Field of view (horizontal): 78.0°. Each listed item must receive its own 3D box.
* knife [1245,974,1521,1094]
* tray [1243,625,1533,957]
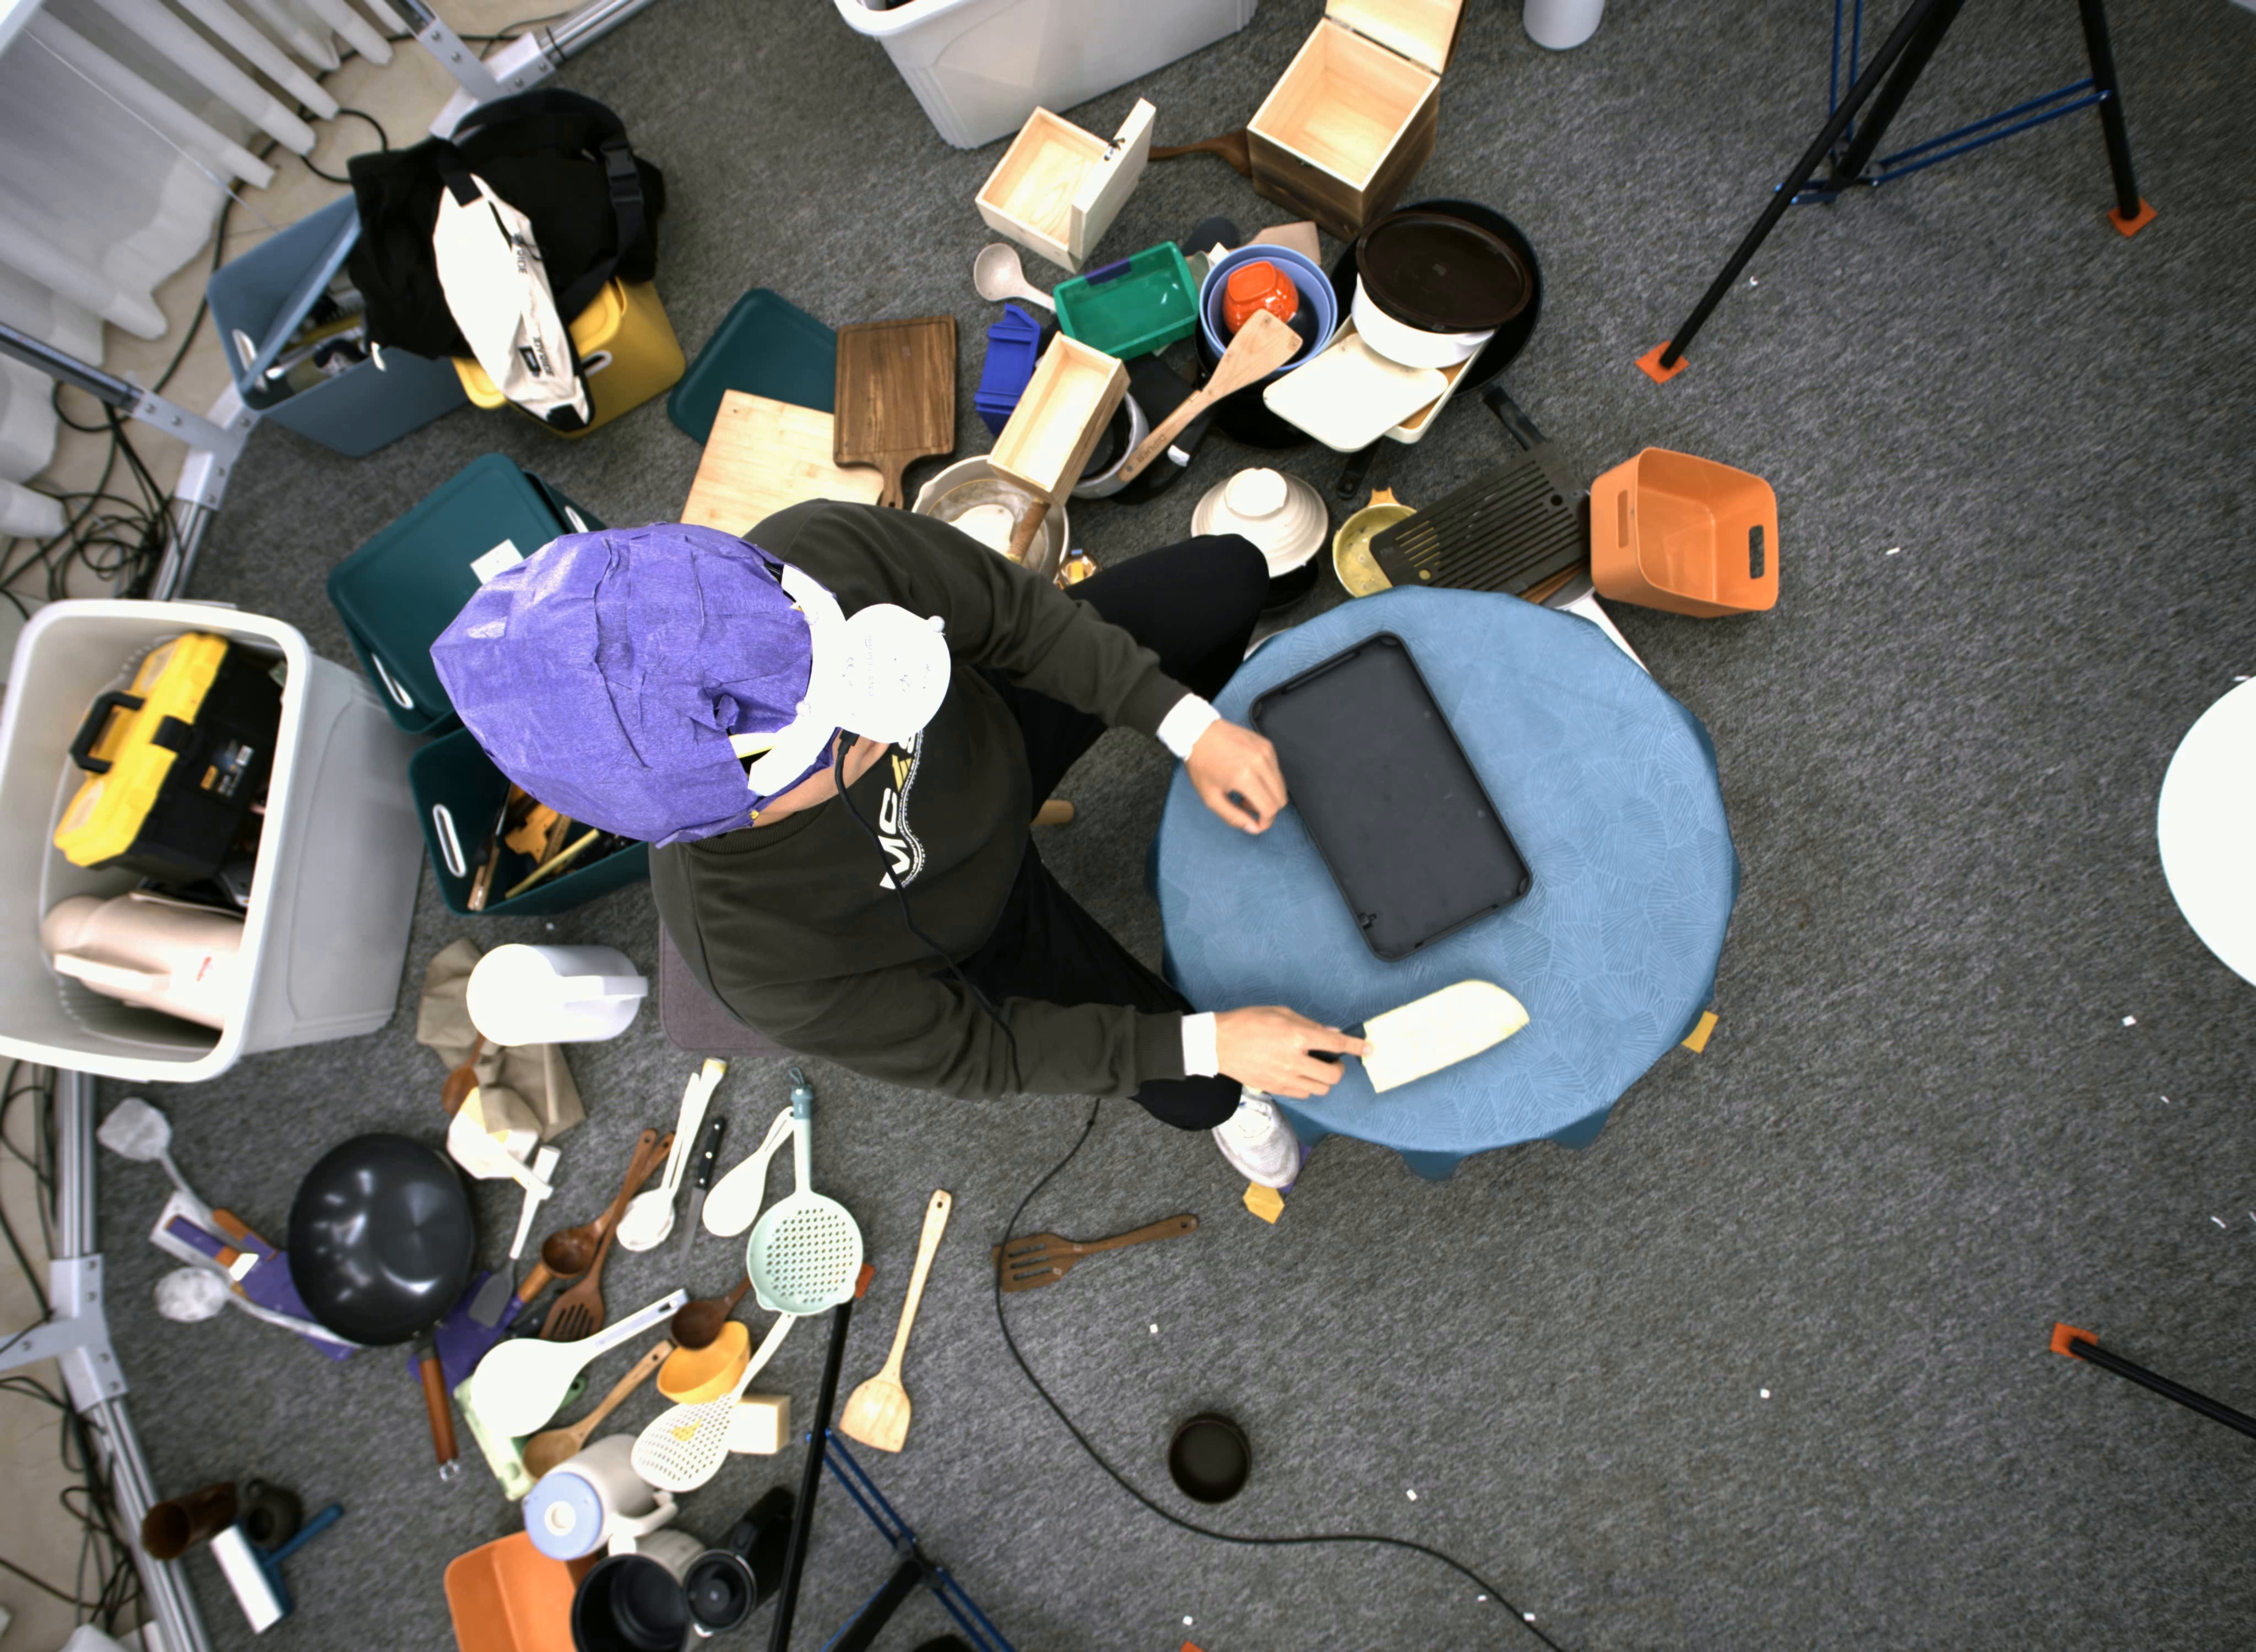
[{"bbox_3d":[0.258,0.220,1.395,0.291,0.027,0.081,-21,95,7],"label":"knife"},{"bbox_3d":[0.271,-0.038,1.448,0.185,0.037,0.316,-30,82,8],"label":"tray"}]
